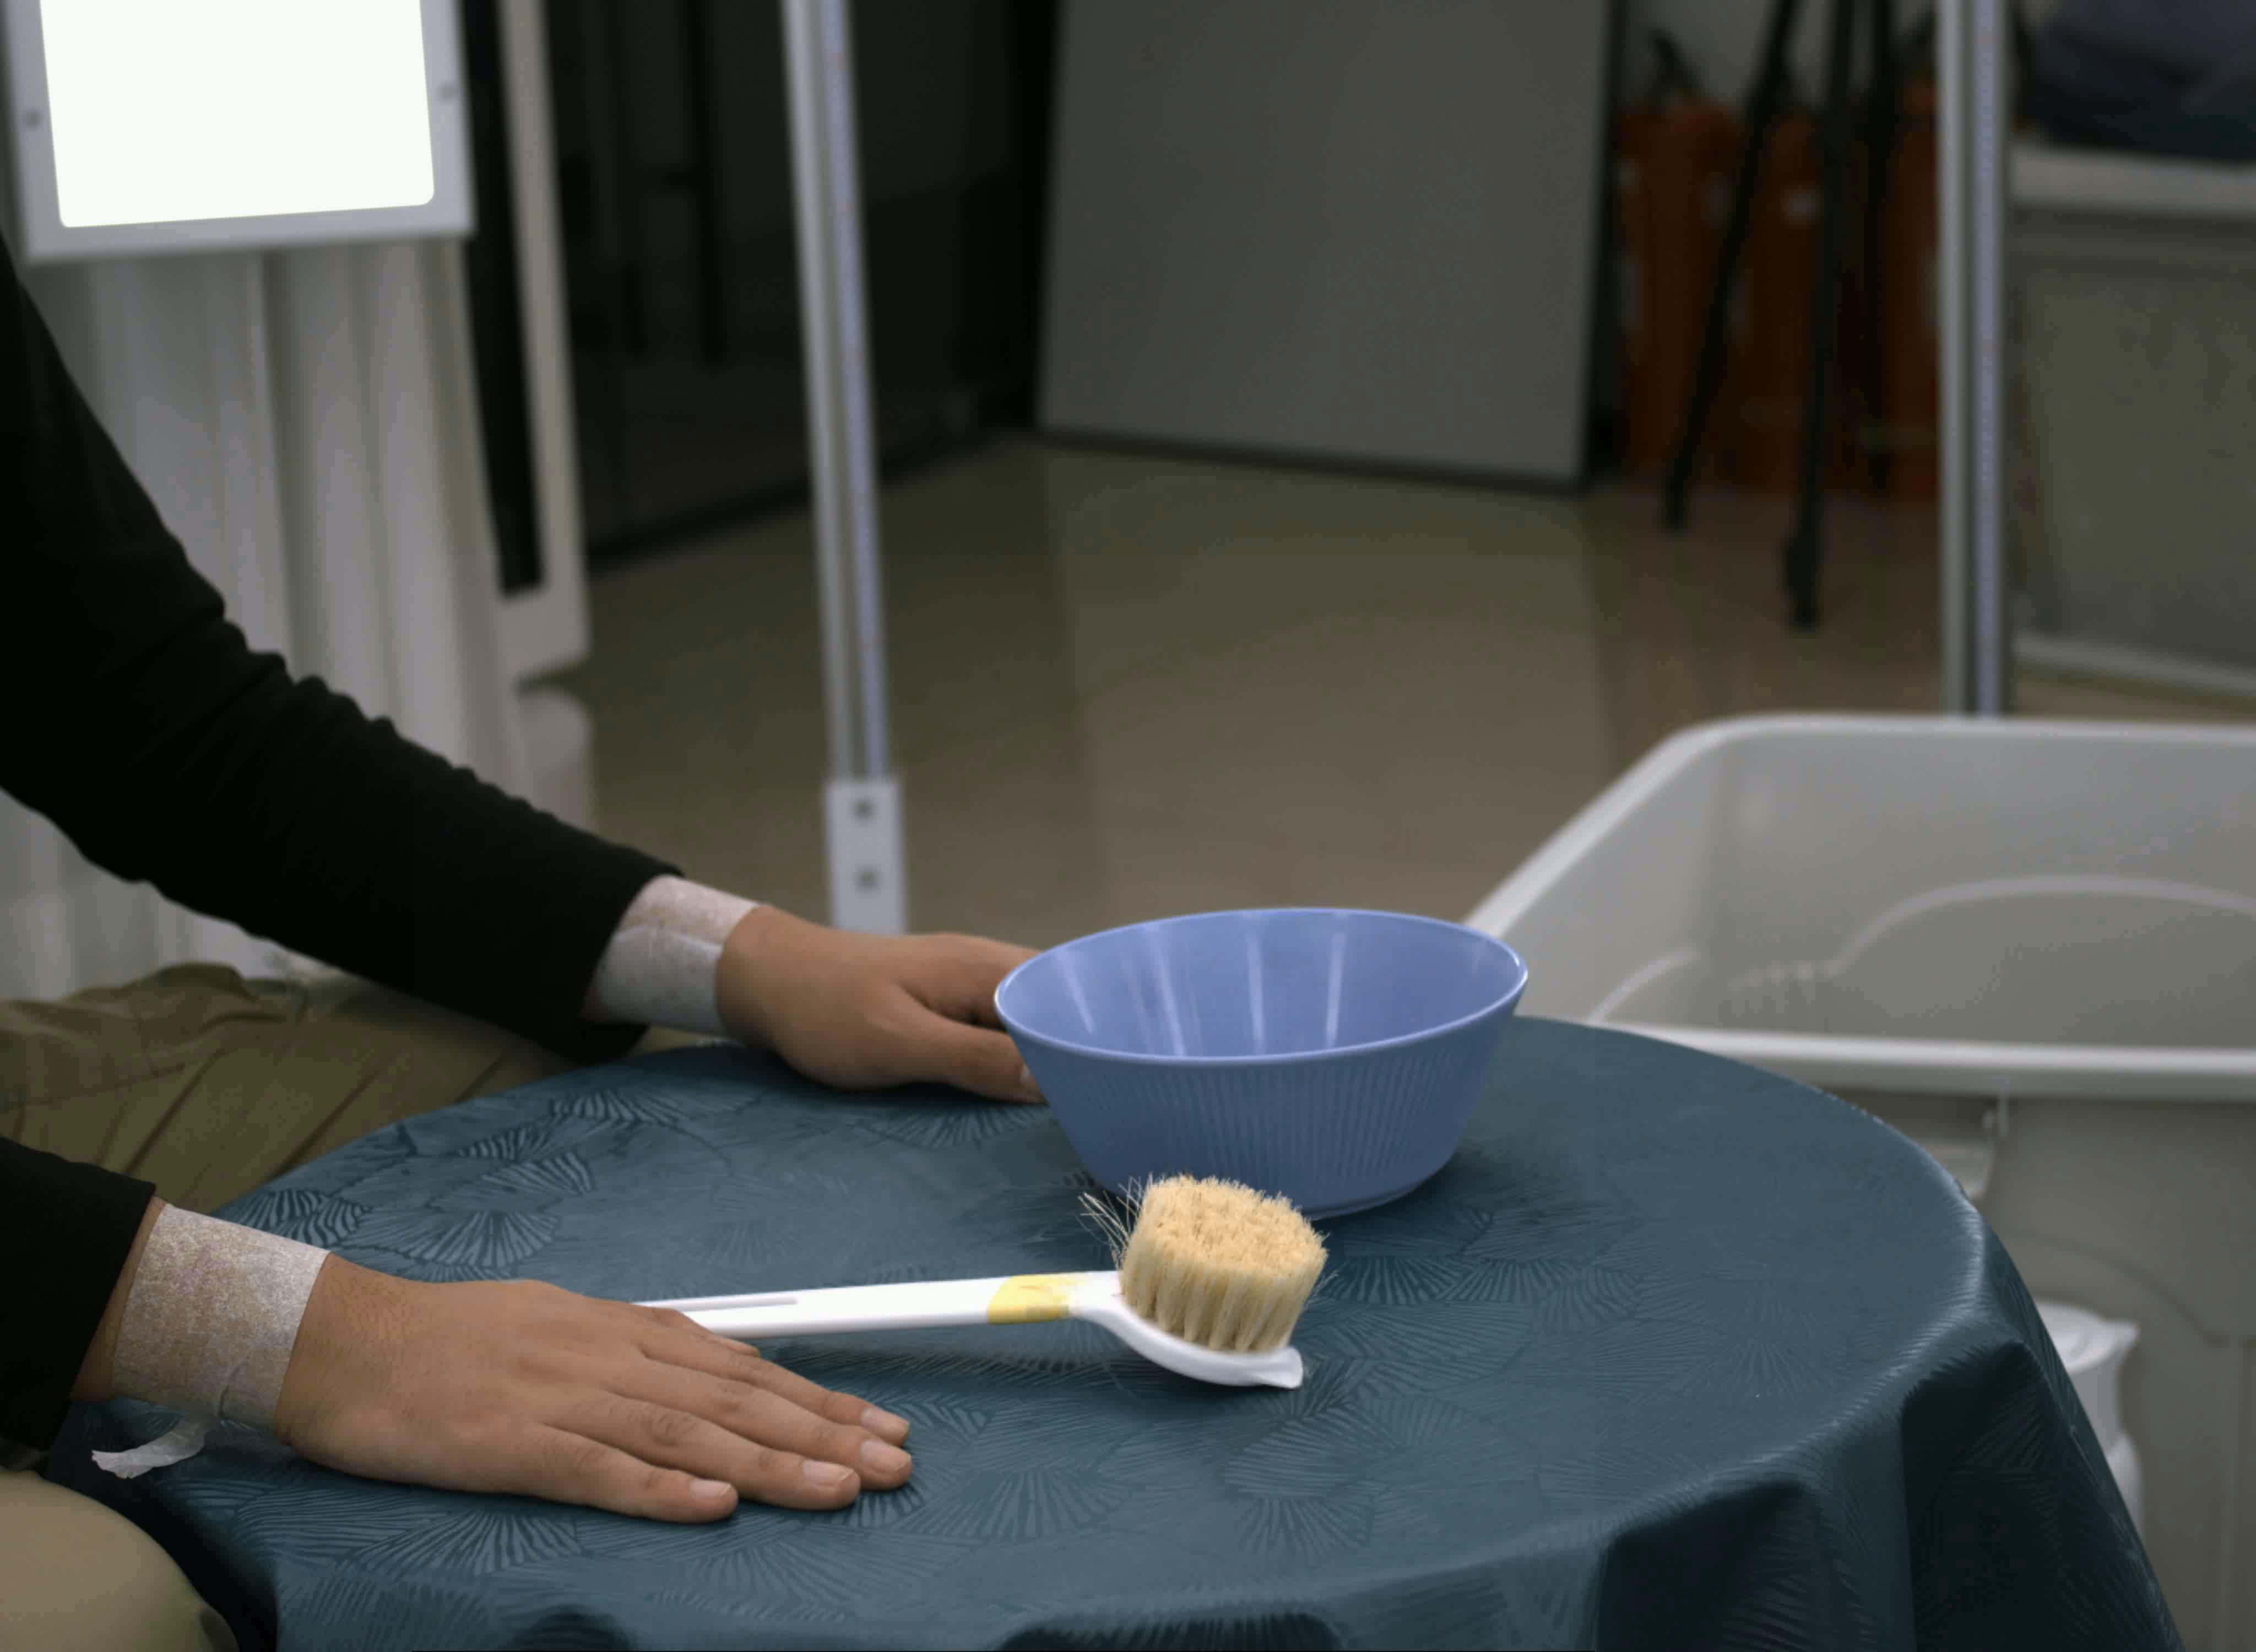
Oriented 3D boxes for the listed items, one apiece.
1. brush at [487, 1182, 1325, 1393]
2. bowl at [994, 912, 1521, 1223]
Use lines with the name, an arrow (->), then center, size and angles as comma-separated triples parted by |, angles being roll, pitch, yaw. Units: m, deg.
brush -> -0.070, 0.137, 1.614 | 0.266, 0.057, 0.068 | -1, 9, 18
bowl -> 0.045, 0.081, 1.767 | 0.174, 0.071, 0.176 | -5, 13, 0
